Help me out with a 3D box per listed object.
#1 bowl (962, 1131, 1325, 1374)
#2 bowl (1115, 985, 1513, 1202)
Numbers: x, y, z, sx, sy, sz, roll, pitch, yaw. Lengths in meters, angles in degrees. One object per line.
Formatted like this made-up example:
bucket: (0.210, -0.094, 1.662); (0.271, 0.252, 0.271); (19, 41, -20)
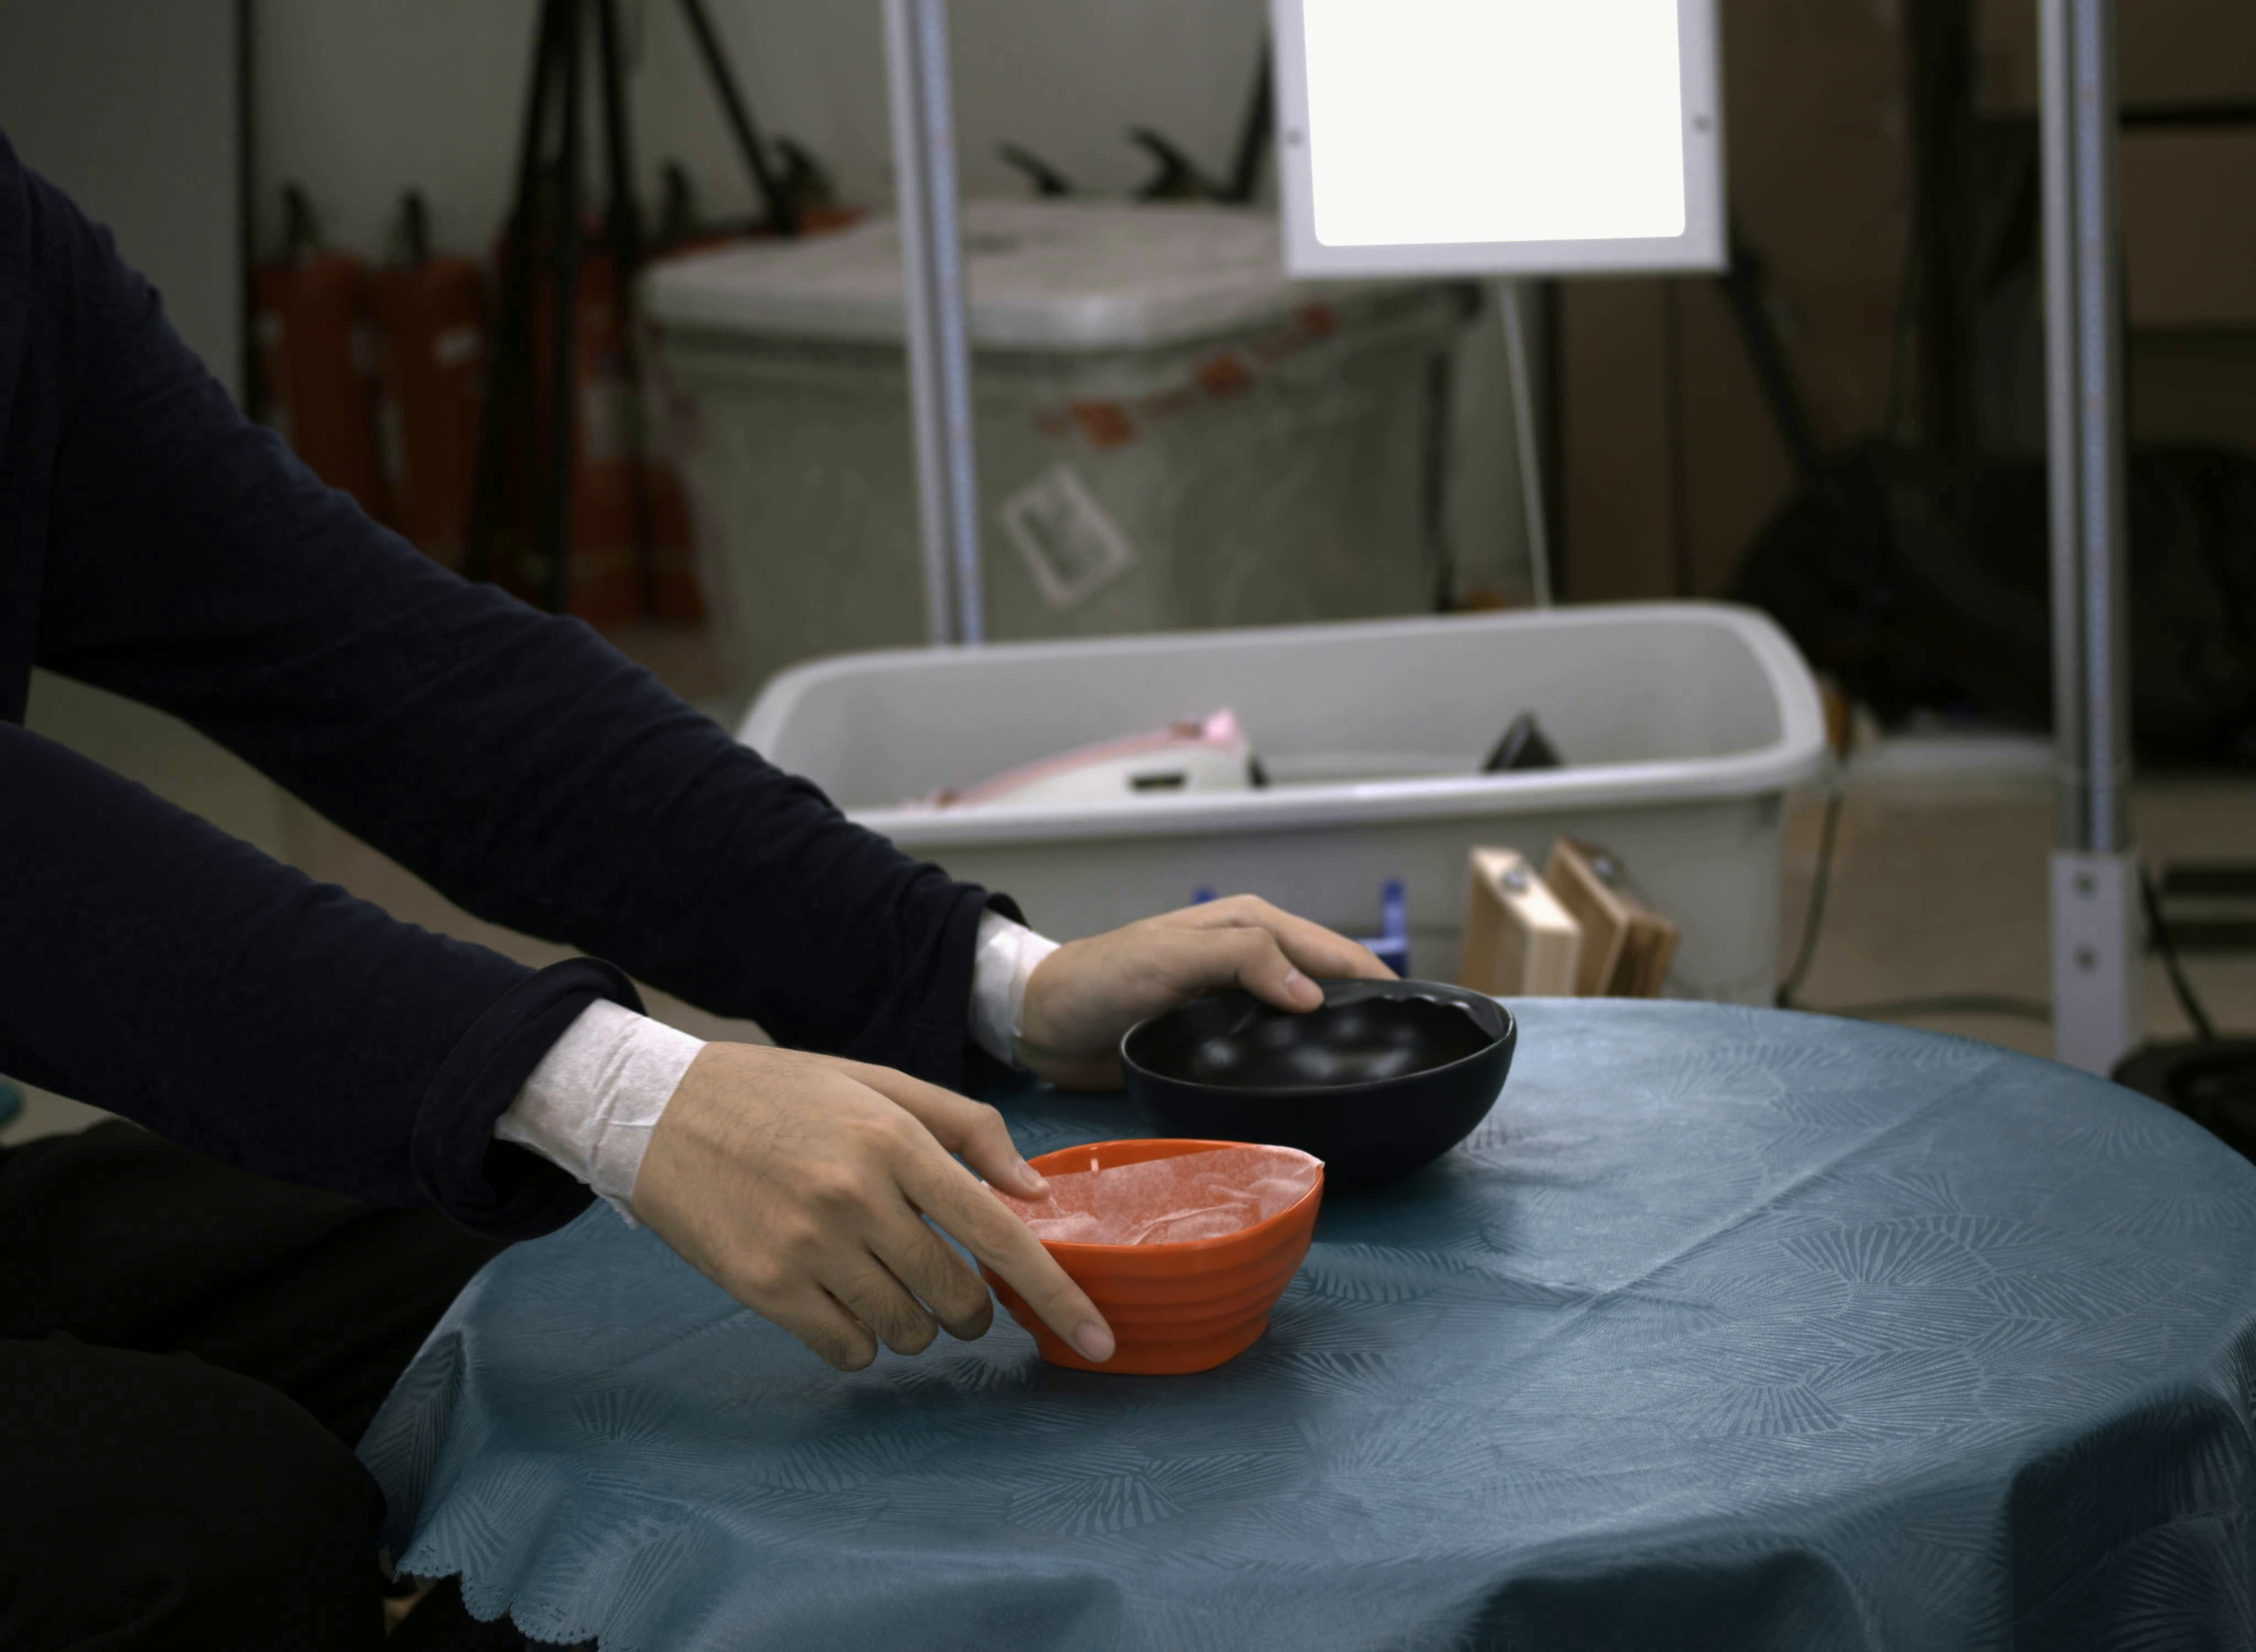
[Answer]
bowl: (0.007, 0.137, 1.745); (0.118, 0.051, 0.119); (-4, 15, 0)
bowl: (0.068, 0.097, 1.908); (0.140, 0.050, 0.140); (-9, 12, 0)
